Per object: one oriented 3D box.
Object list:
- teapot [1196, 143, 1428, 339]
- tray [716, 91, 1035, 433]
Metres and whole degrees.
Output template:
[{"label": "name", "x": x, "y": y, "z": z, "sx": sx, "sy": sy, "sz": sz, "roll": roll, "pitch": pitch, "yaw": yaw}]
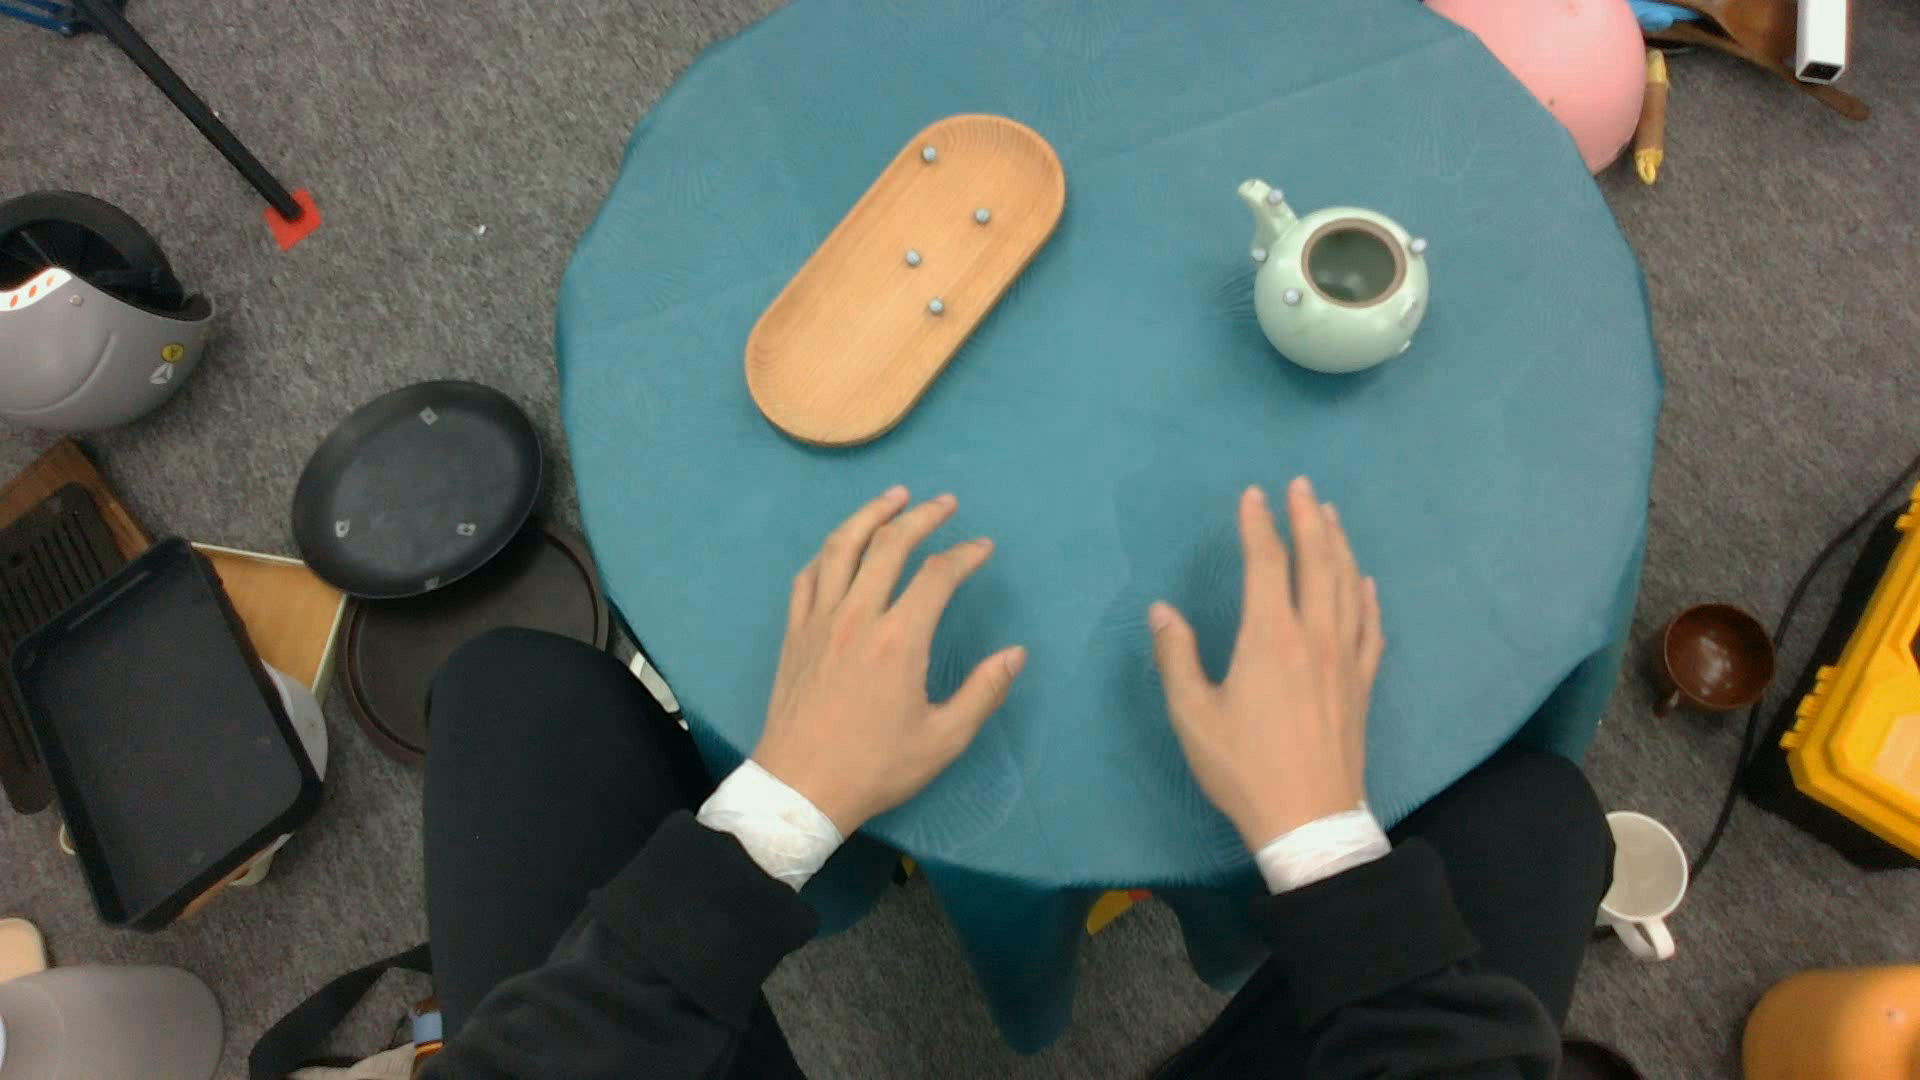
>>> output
[{"label": "teapot", "x": 0.180, "y": -0.151, "z": 0.731, "sx": 0.144, "sy": 0.074, "sz": 0.088, "roll": 40, "pitch": 78, "yaw": 13}, {"label": "tray", "x": -0.045, "y": -0.157, "z": 0.768, "sx": 0.101, "sy": 0.020, "sz": 0.231, "roll": 32, "pitch": 77, "yaw": 13}]
